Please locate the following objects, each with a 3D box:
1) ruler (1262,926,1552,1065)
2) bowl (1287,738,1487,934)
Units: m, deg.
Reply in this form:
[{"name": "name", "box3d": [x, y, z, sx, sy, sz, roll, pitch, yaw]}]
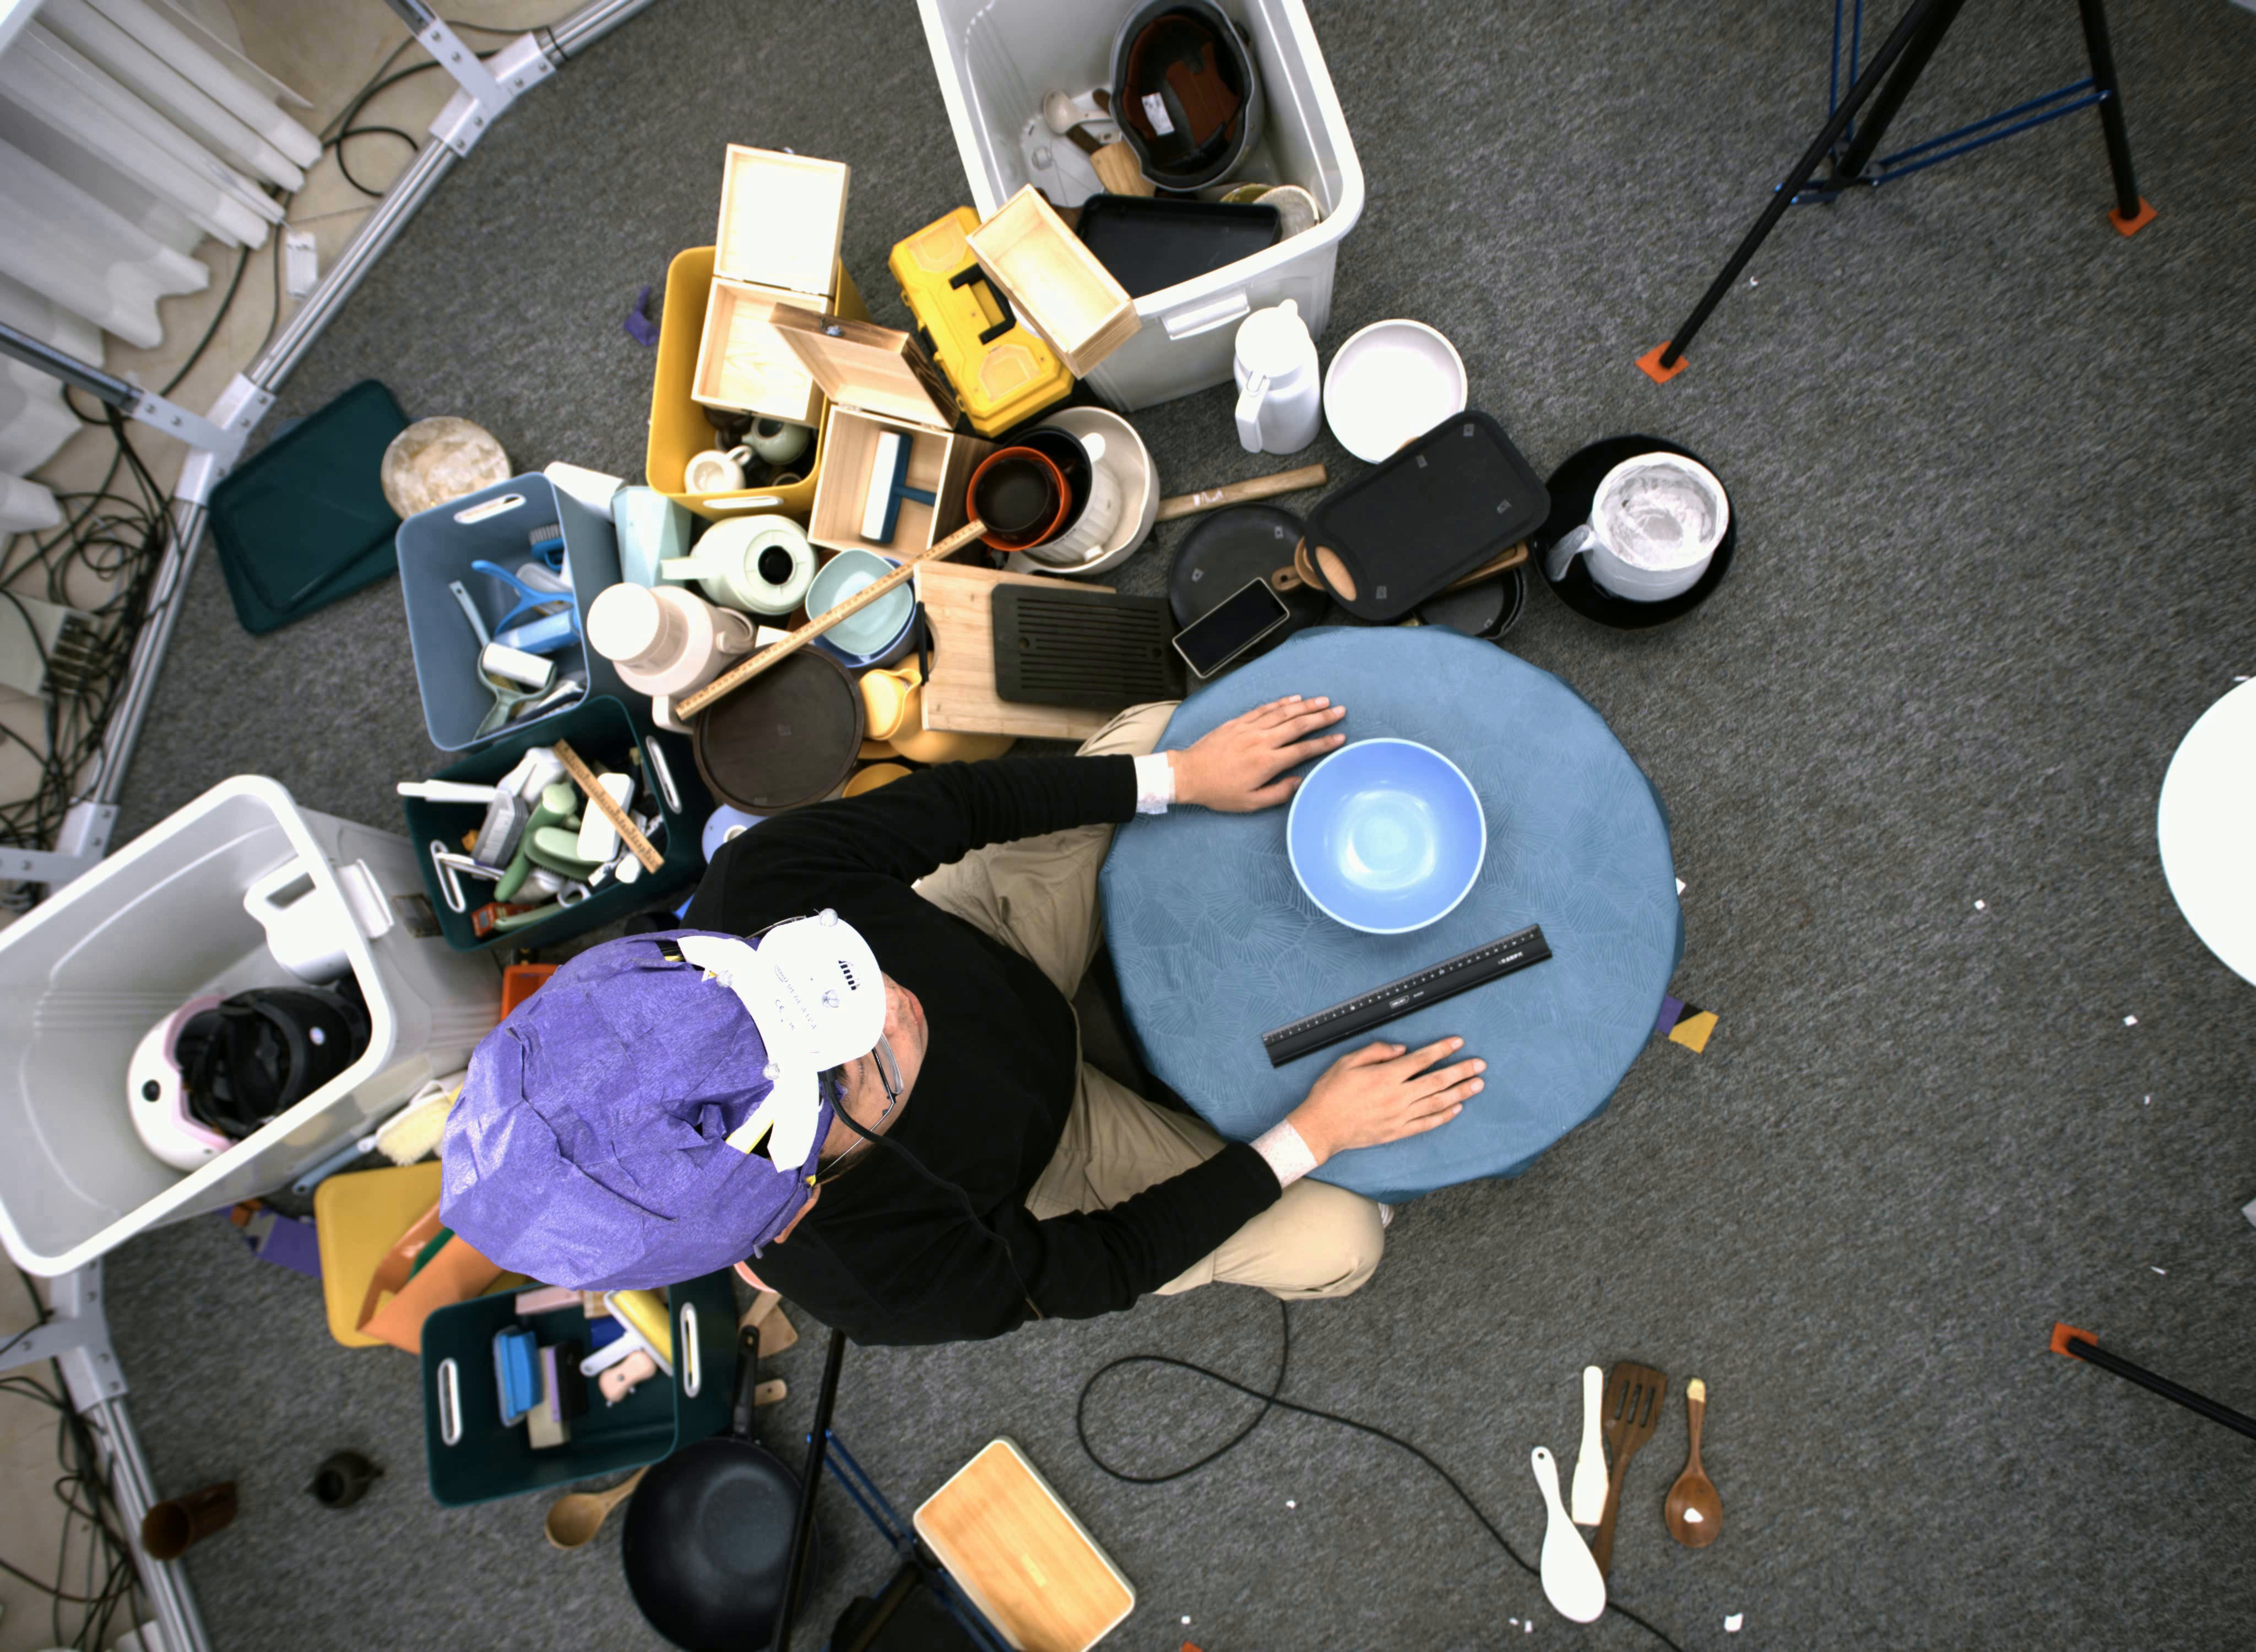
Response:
[{"name": "ruler", "box3d": [0.289, 0.175, 1.443, 0.314, 0.017, 0.039, -23, 77, 9]}, {"name": "bowl", "box3d": [0.264, 0.013, 1.416, 0.197, 0.095, 0.195, -1, 86, 10]}]
